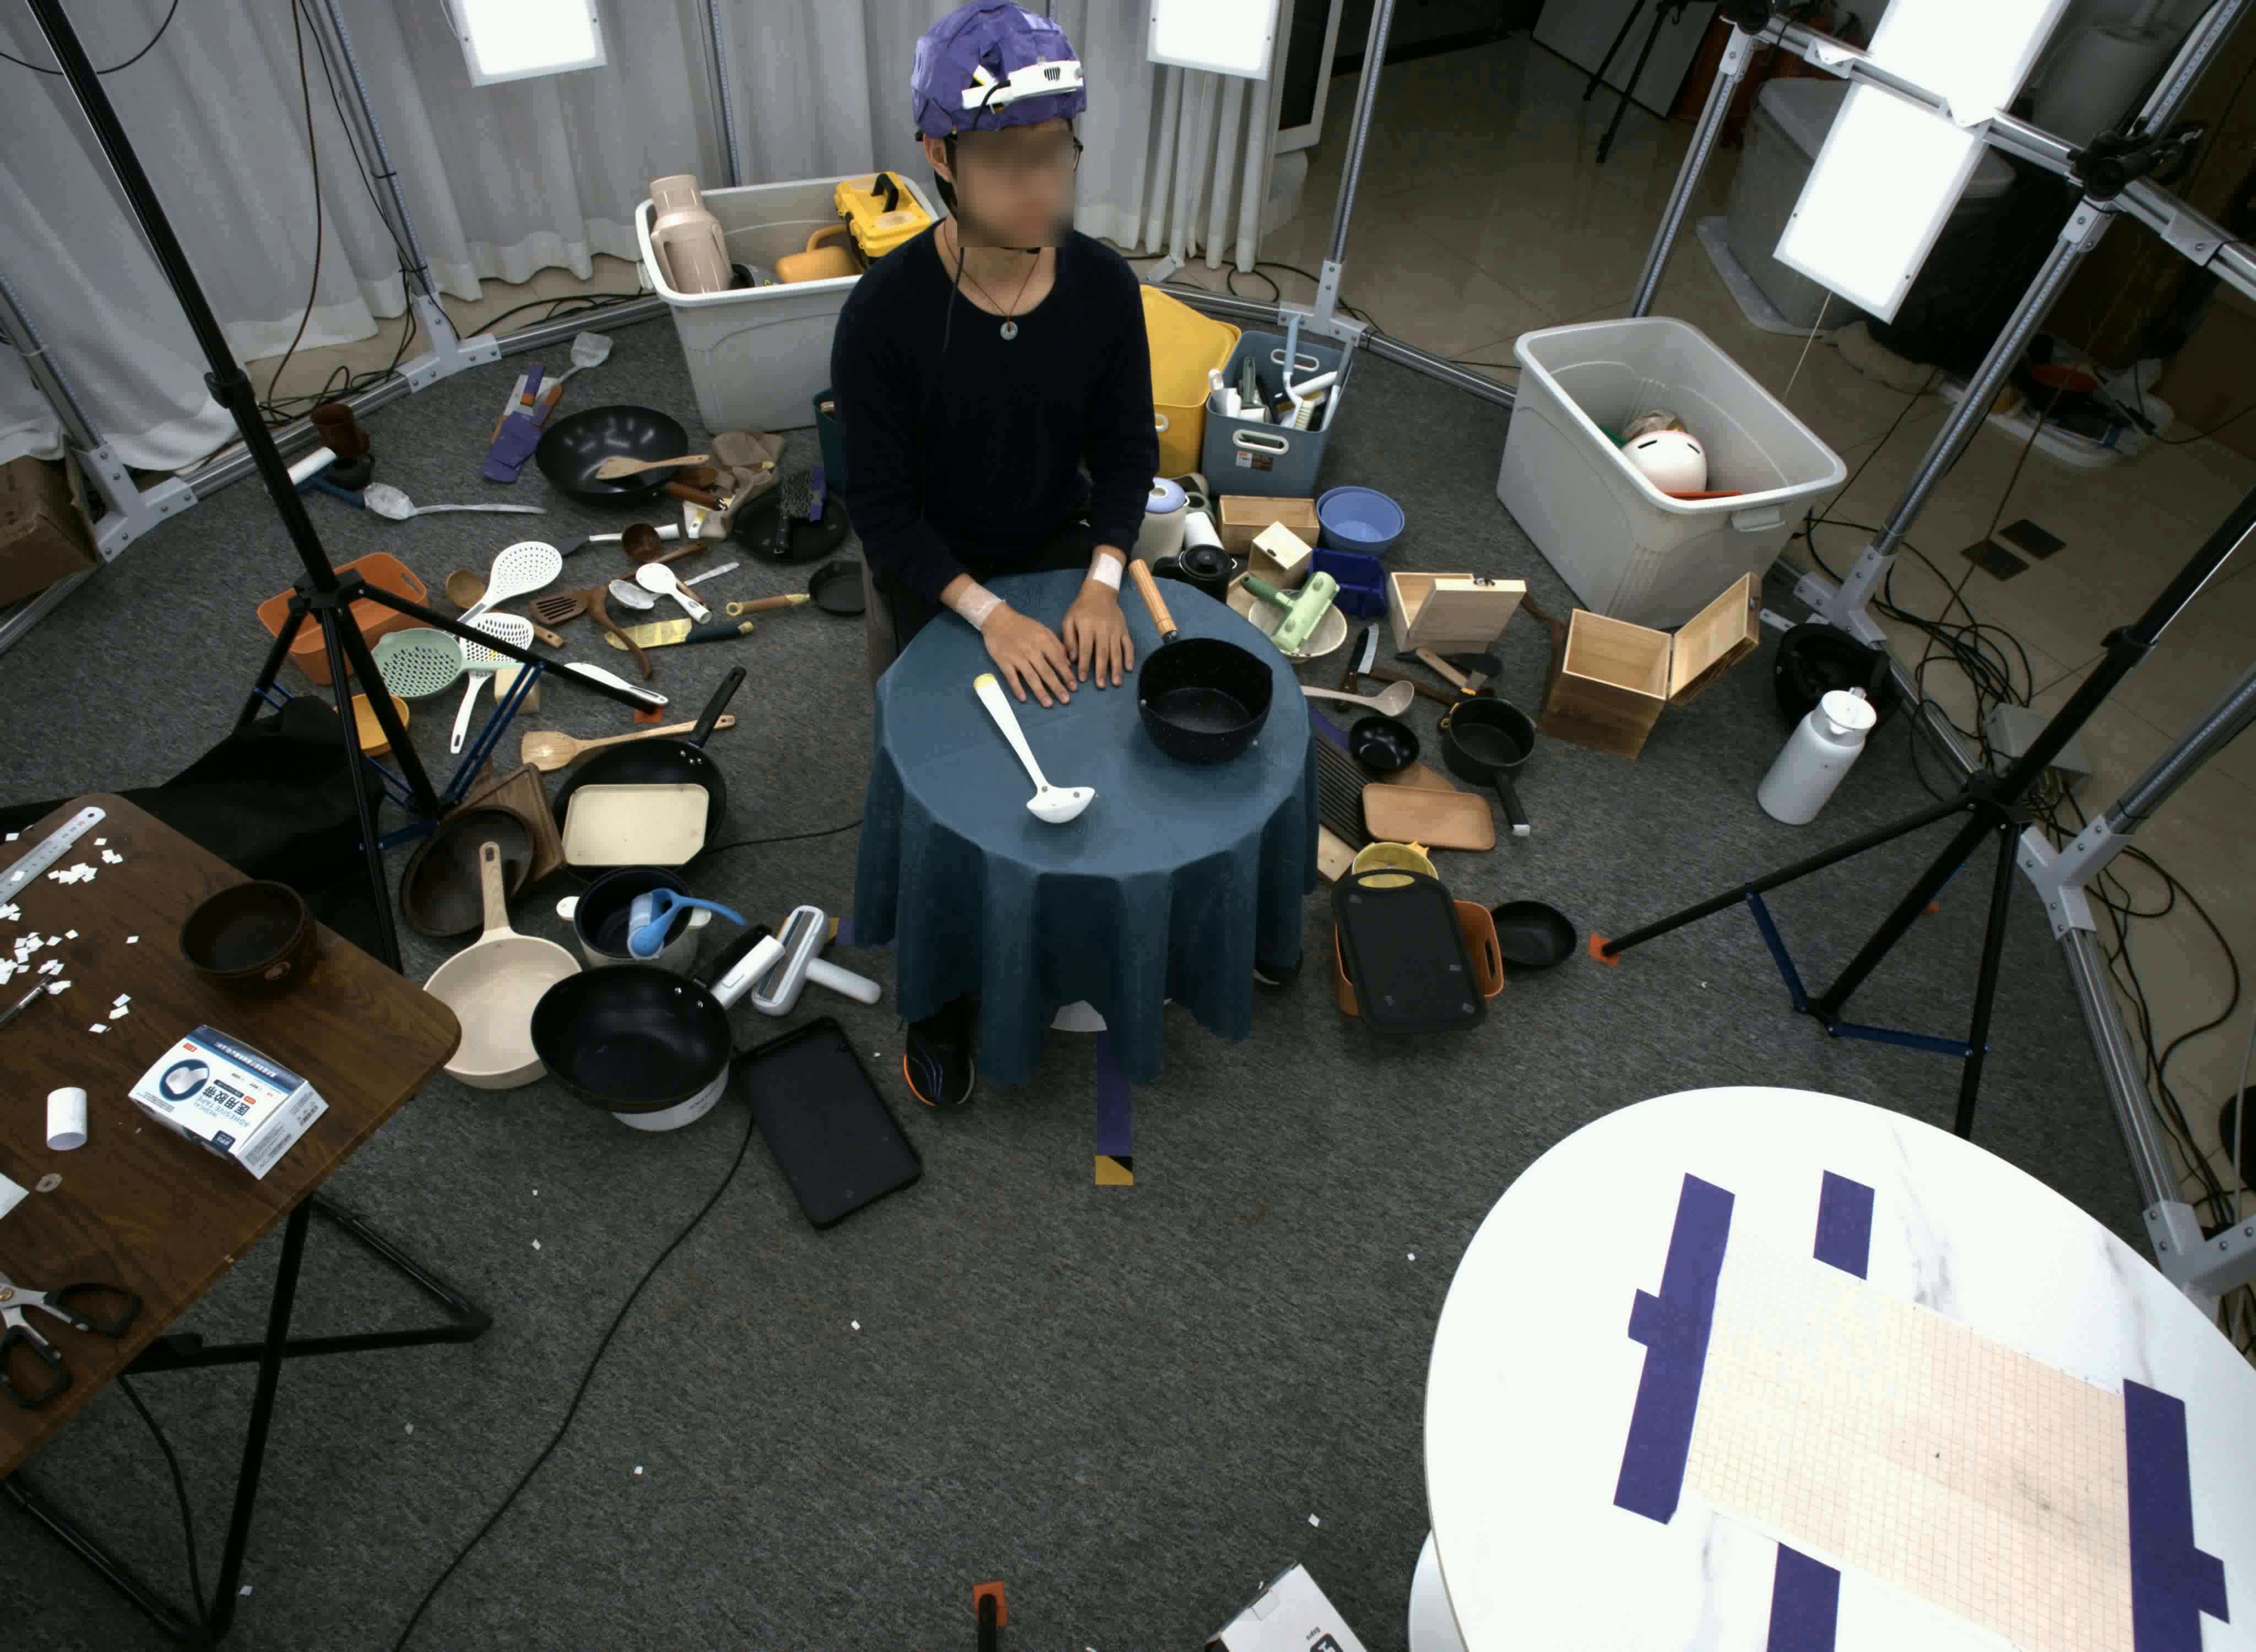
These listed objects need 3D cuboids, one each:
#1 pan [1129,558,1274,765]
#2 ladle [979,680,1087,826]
[{"bbox_3d":[0.072,-0.232,1.805,0.207,0.105,0.351,-17,54,-16],"label":"pan"},{"bbox_3d":[-0.140,-0.107,1.717,0.090,0.068,0.300,-19,51,-13],"label":"ladle"}]
